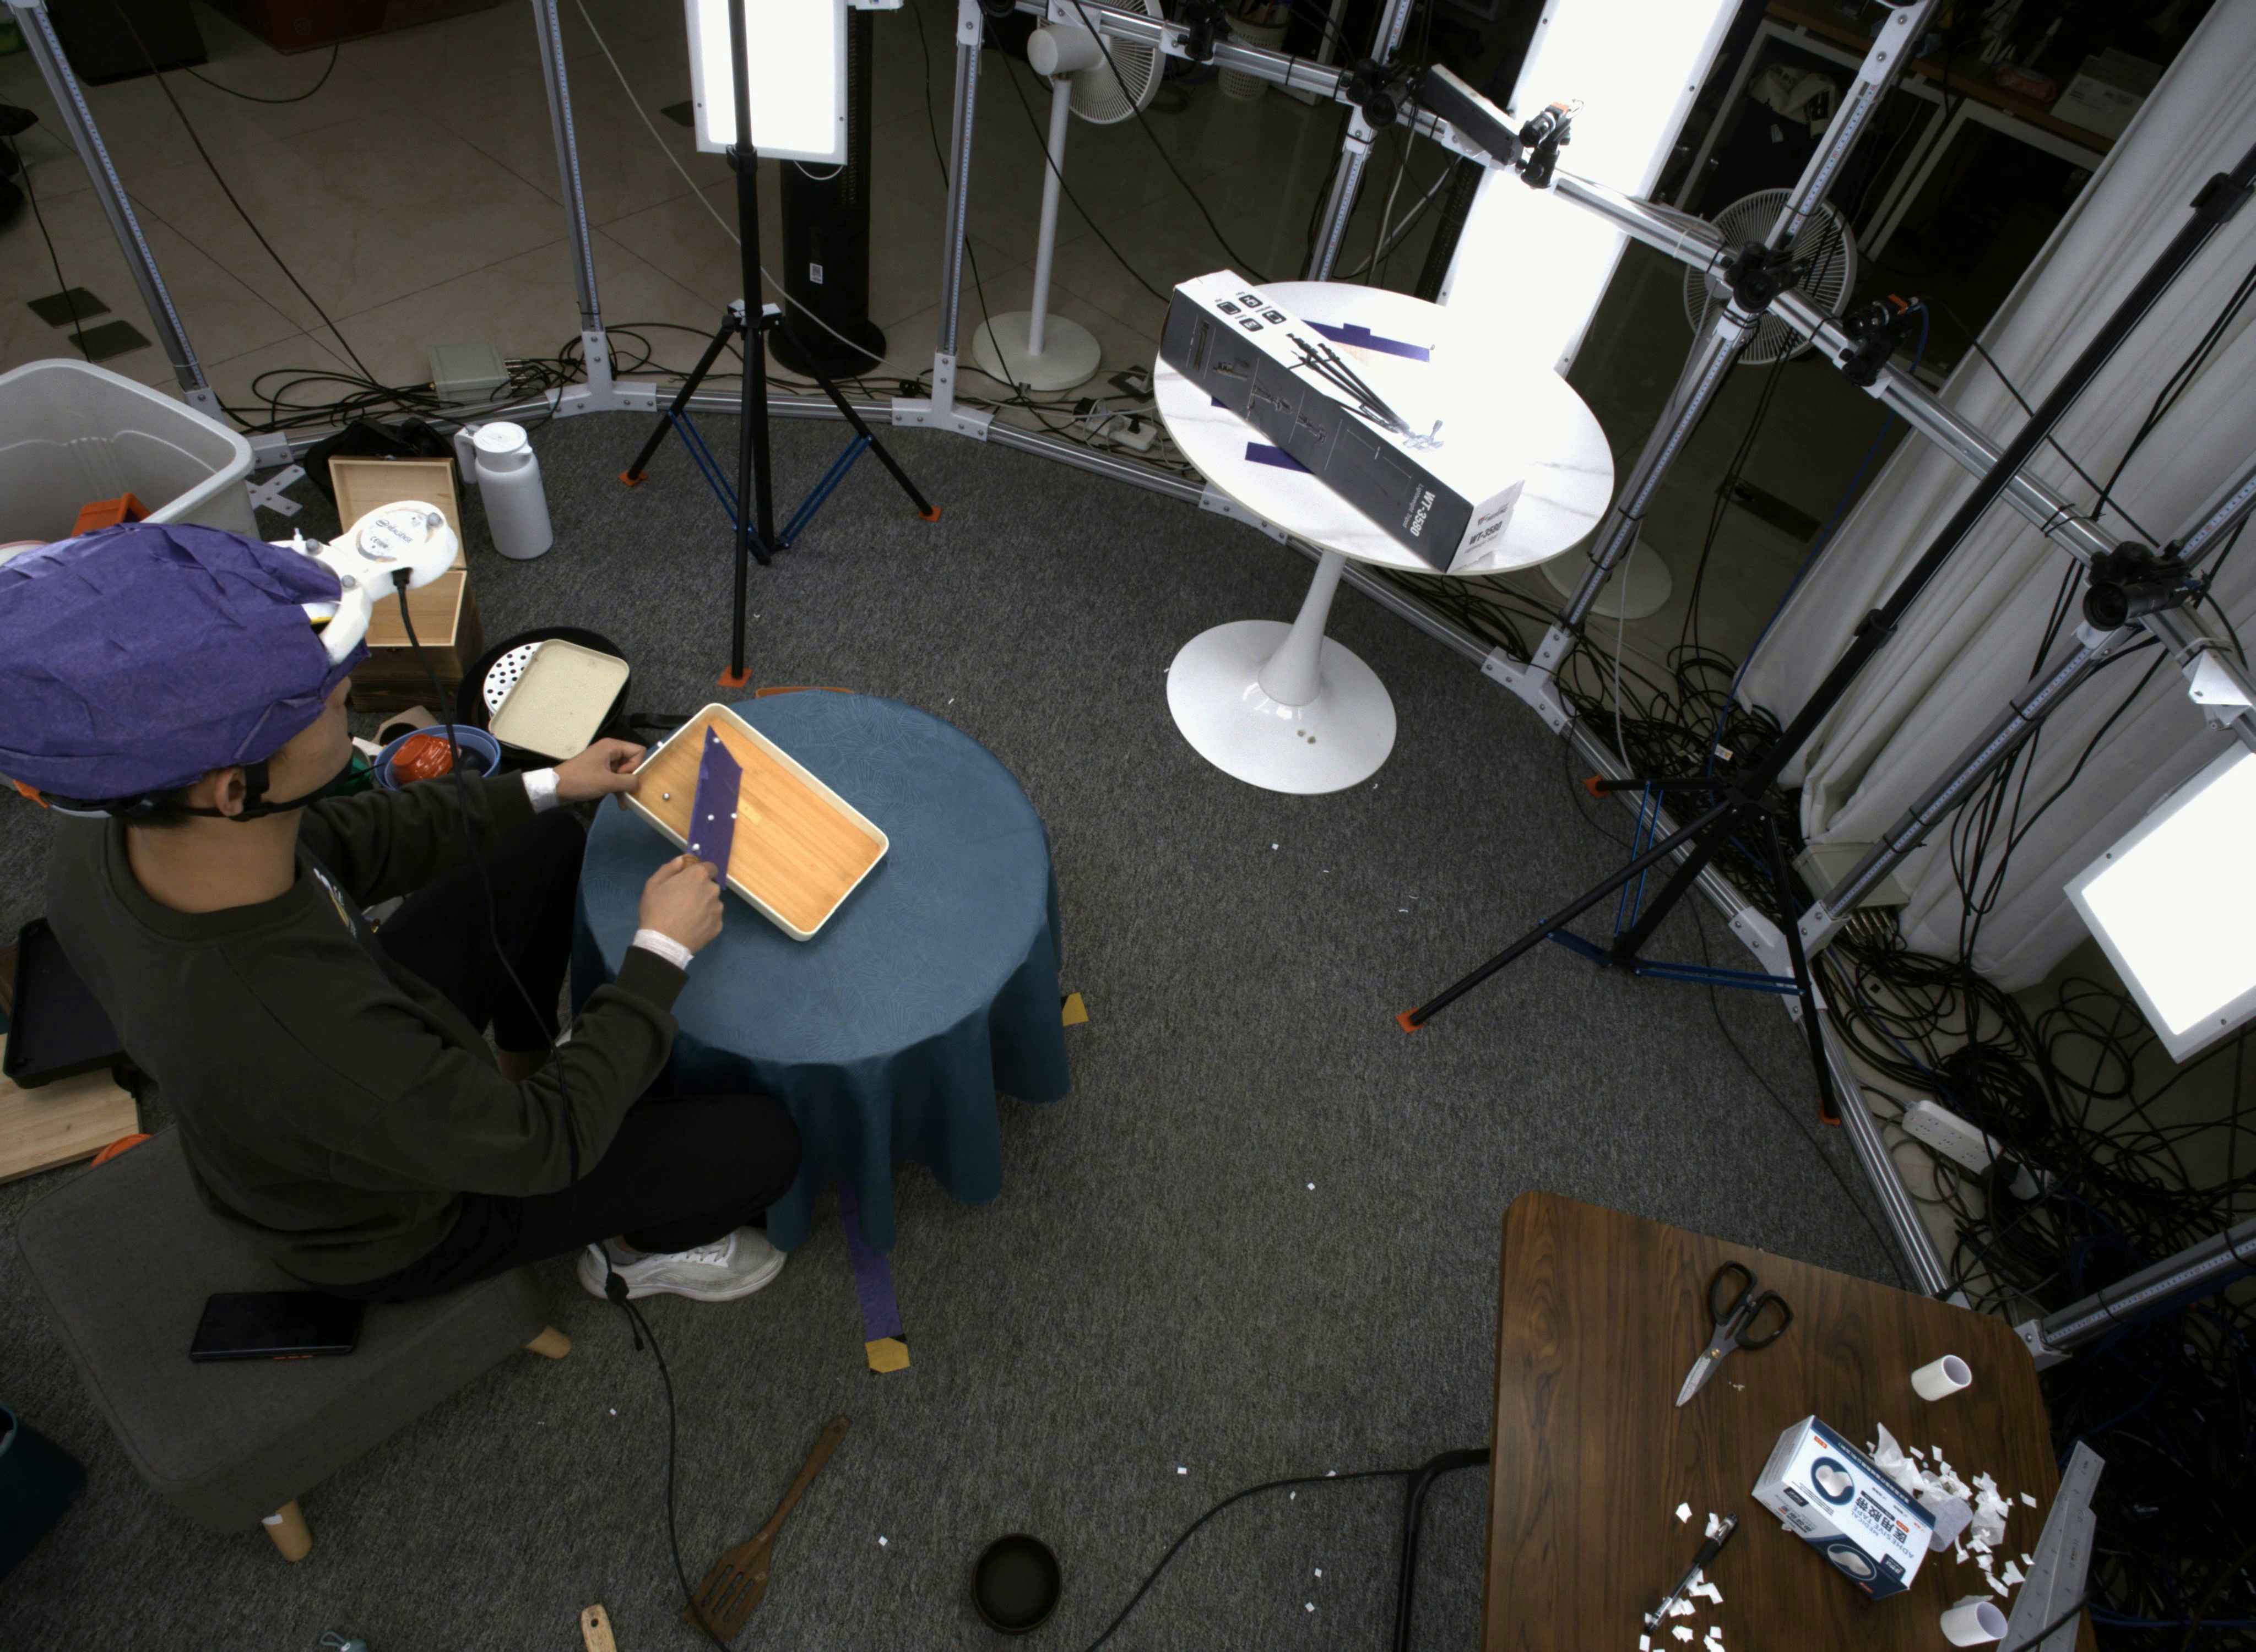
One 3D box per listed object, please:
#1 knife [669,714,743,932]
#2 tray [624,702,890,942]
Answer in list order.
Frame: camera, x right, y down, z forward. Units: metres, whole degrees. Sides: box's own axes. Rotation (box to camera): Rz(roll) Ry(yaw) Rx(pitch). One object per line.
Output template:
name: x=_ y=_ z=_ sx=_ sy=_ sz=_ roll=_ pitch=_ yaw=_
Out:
knife: x=-0.497 y=0.007 z=1.544 sx=0.031 sy=0.108 sz=0.308 roll=-13 pitch=50 yaw=10
tray: x=-0.472 y=-0.009 z=1.653 sx=0.302 sy=0.027 sz=0.191 roll=40 pitch=52 yaw=-7
